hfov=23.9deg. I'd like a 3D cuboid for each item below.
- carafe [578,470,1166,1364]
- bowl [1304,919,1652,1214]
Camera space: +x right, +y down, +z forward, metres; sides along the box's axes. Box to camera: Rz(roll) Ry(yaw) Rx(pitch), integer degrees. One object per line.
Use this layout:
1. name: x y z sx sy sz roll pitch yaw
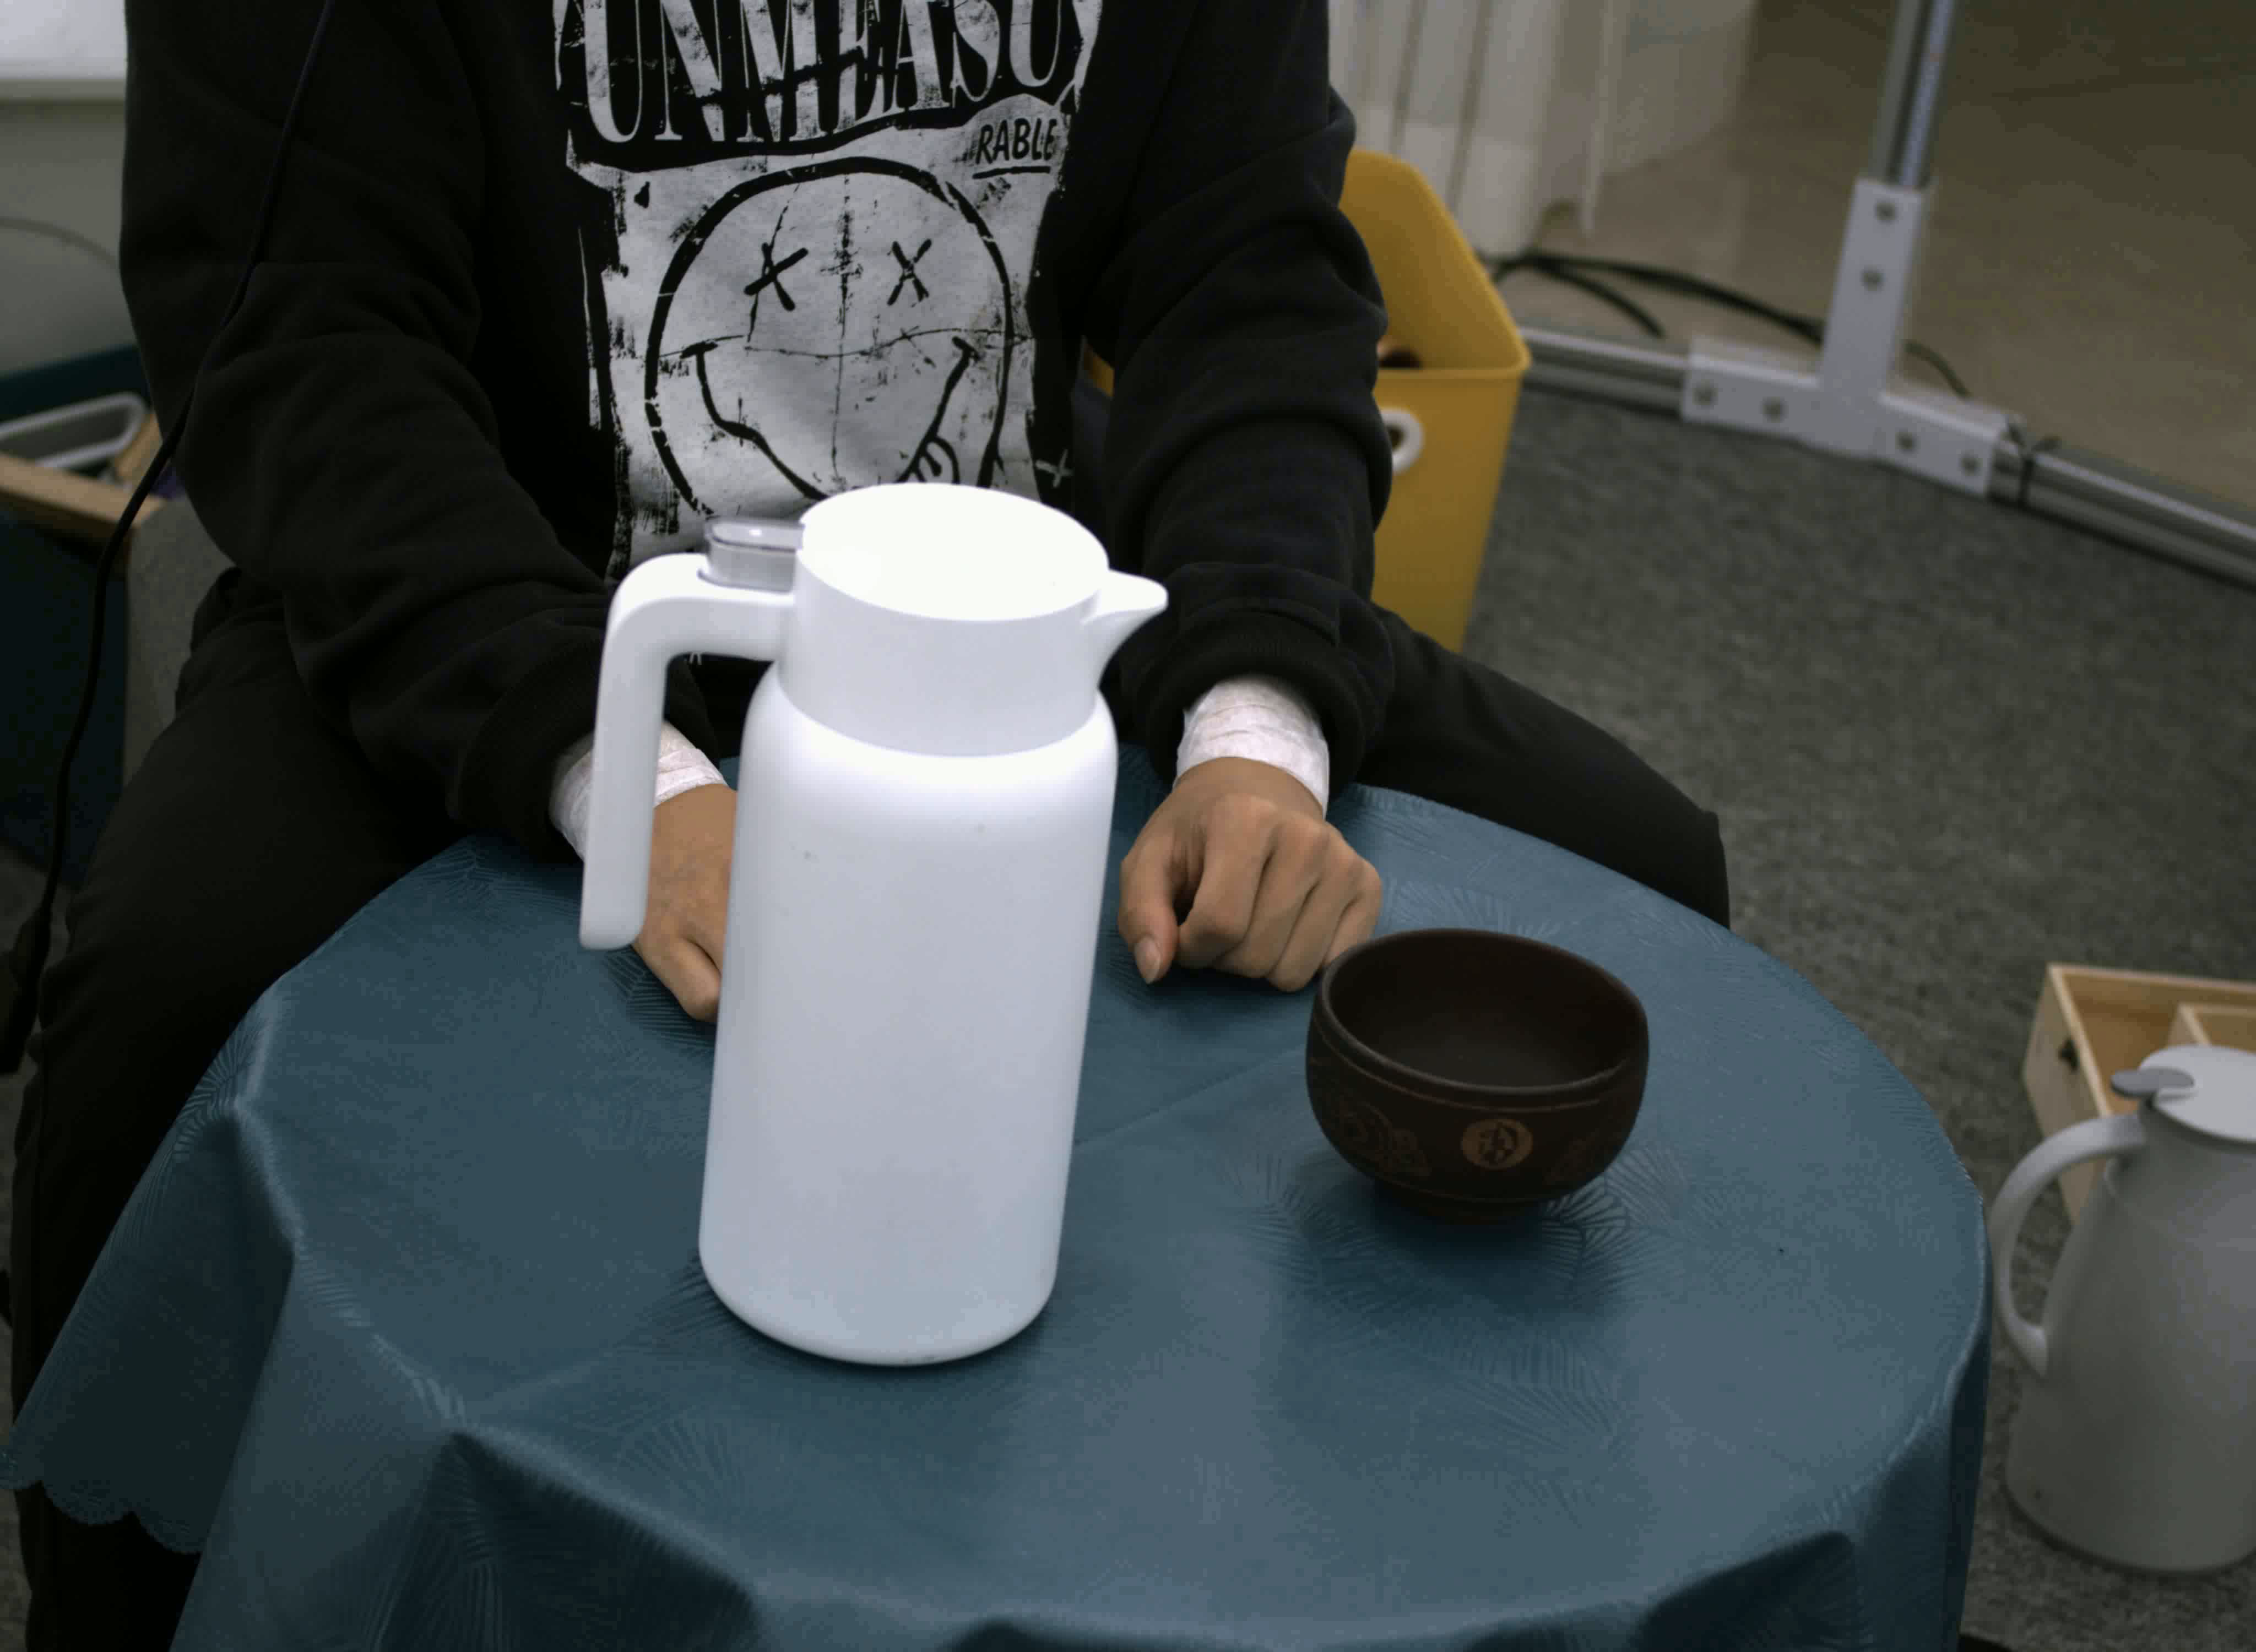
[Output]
1. carafe: -0.086 0.030 1.677 0.172 0.268 0.124 4 28 -4
2. bowl: 0.117 0.089 1.818 0.117 0.069 0.119 4 27 -3
